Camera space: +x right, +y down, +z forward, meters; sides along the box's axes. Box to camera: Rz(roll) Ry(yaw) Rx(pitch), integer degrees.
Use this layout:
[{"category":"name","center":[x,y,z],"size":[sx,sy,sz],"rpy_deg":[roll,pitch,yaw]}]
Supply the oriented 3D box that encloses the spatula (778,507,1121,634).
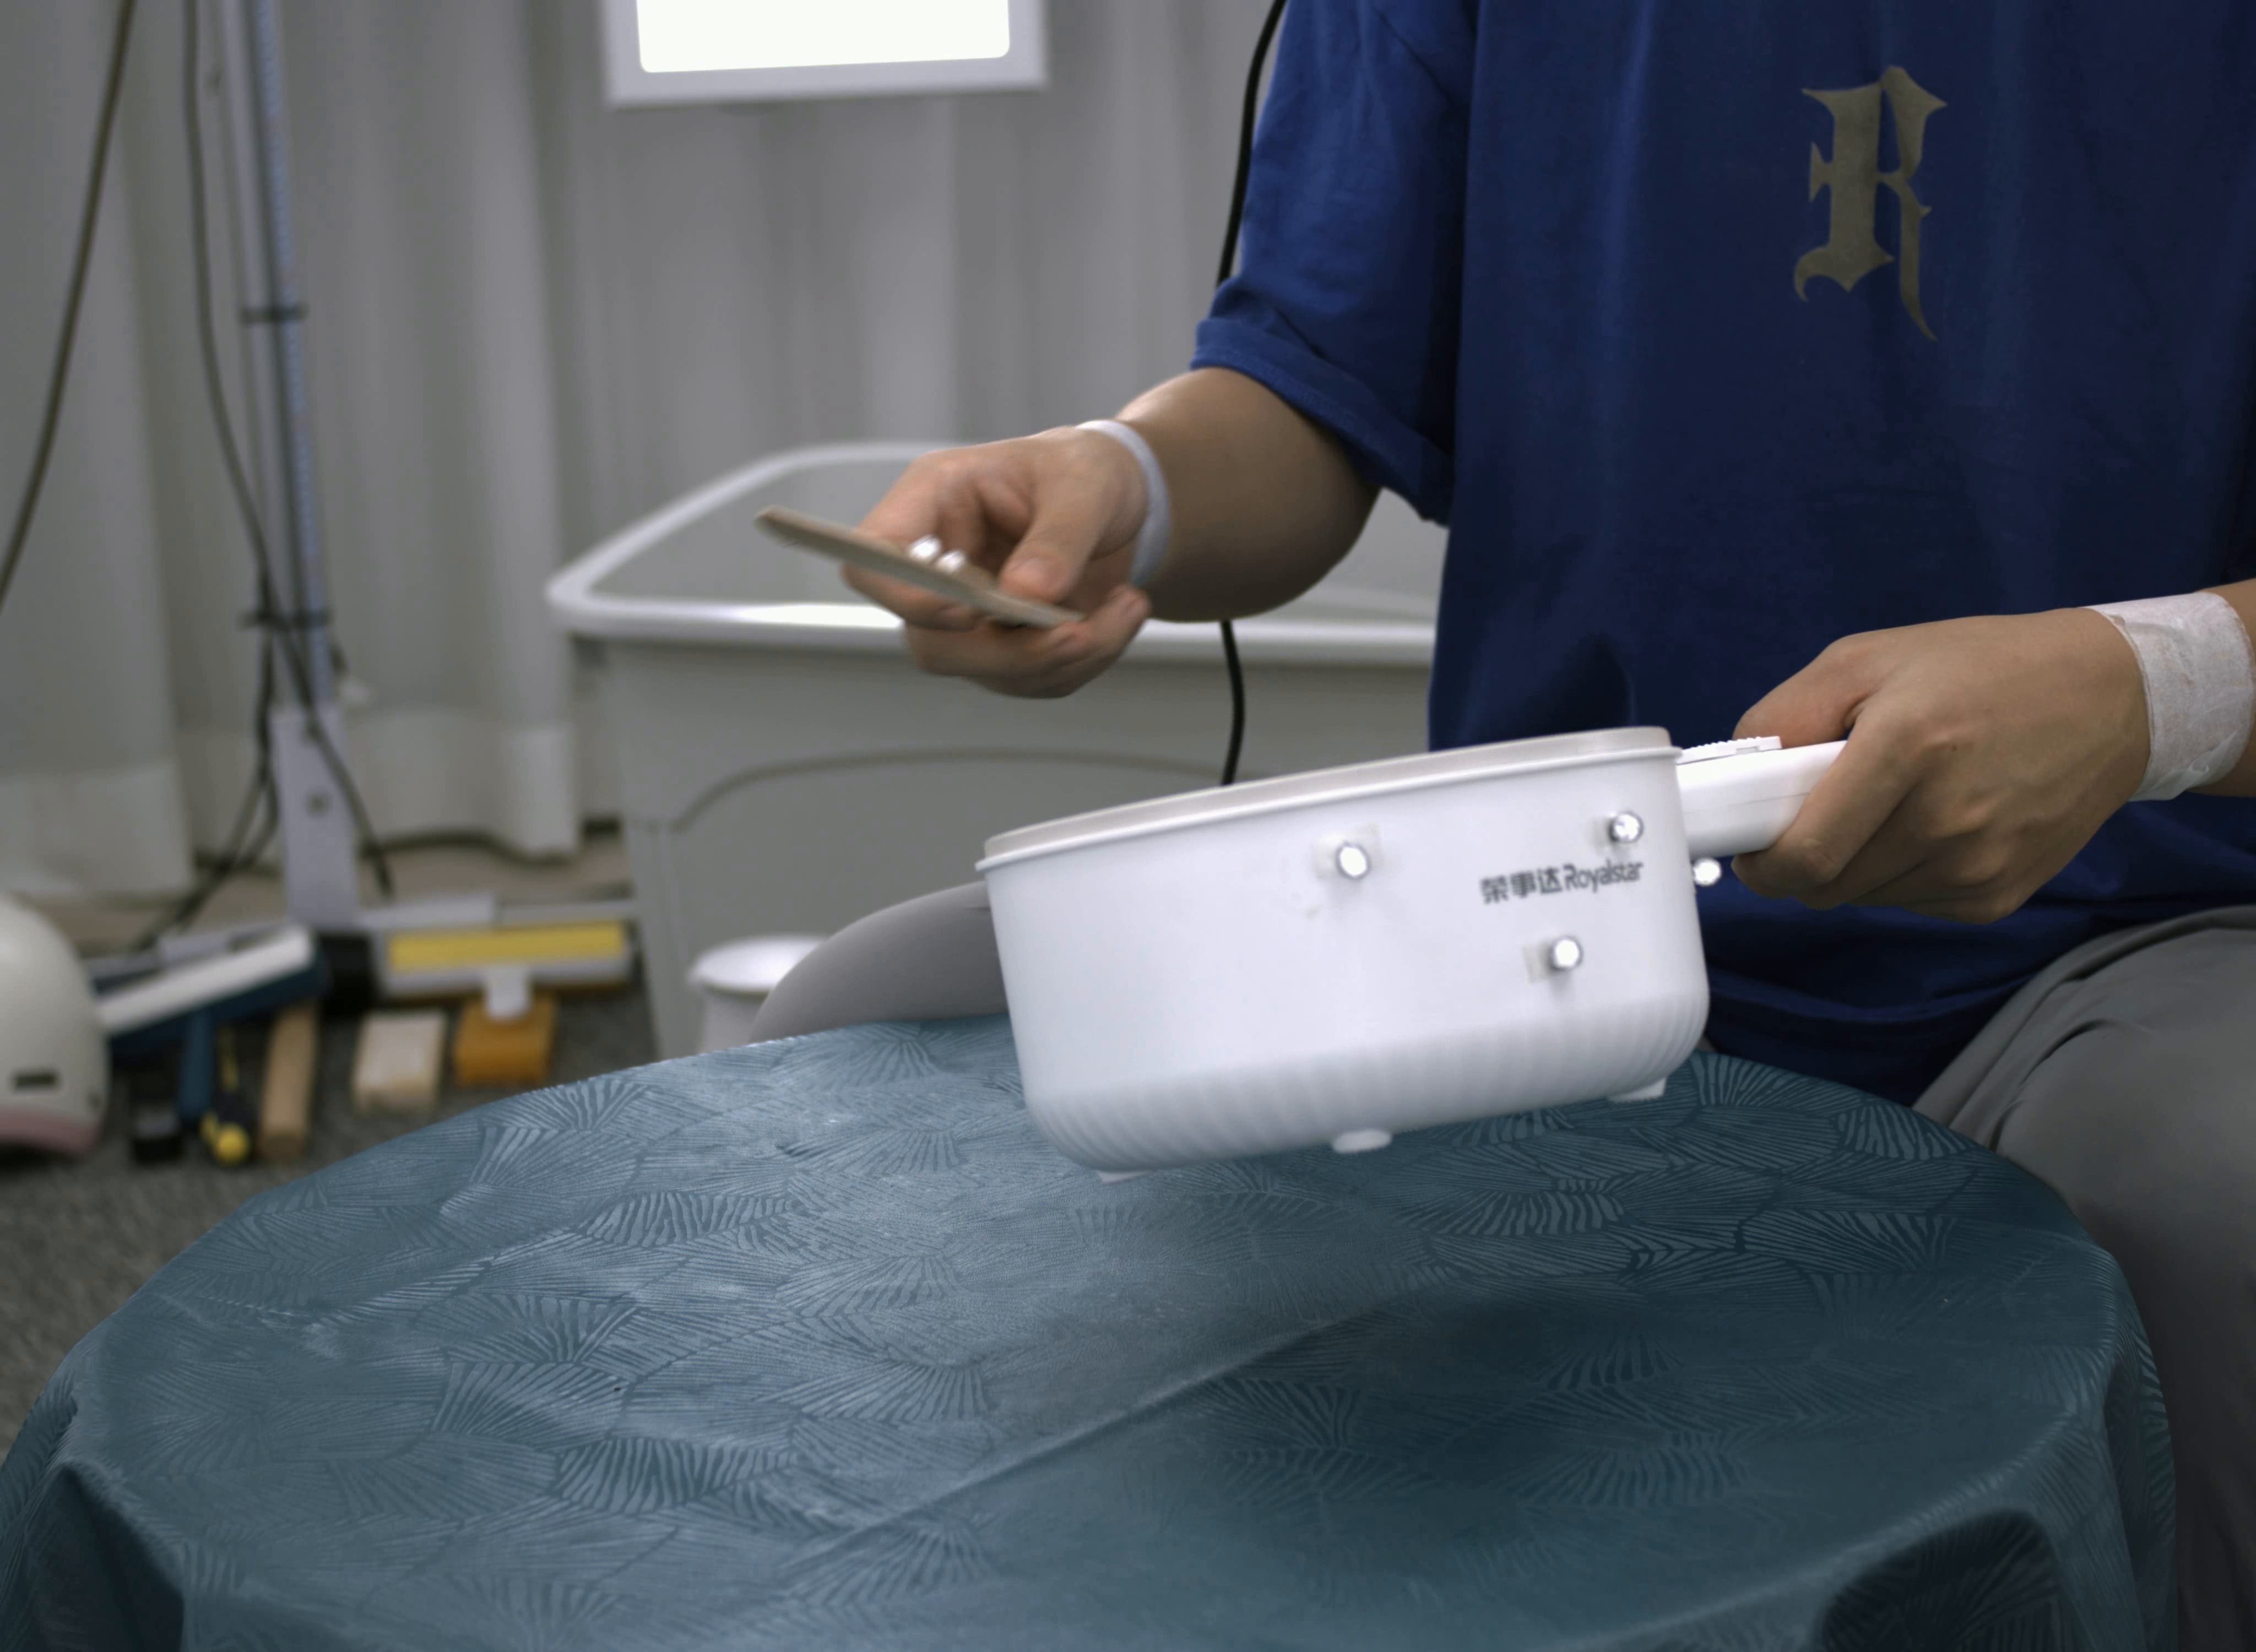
[{"category":"spatula","center":[-0.043,-0.074,1.695],"size":[0.072,0.011,0.292],"rpy_deg":[17,1,11]}]

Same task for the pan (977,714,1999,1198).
[{"category":"pan","center":[0.123,0.032,1.577],"size":[0.353,0.102,0.201],"rpy_deg":[-7,-6,-39]}]
